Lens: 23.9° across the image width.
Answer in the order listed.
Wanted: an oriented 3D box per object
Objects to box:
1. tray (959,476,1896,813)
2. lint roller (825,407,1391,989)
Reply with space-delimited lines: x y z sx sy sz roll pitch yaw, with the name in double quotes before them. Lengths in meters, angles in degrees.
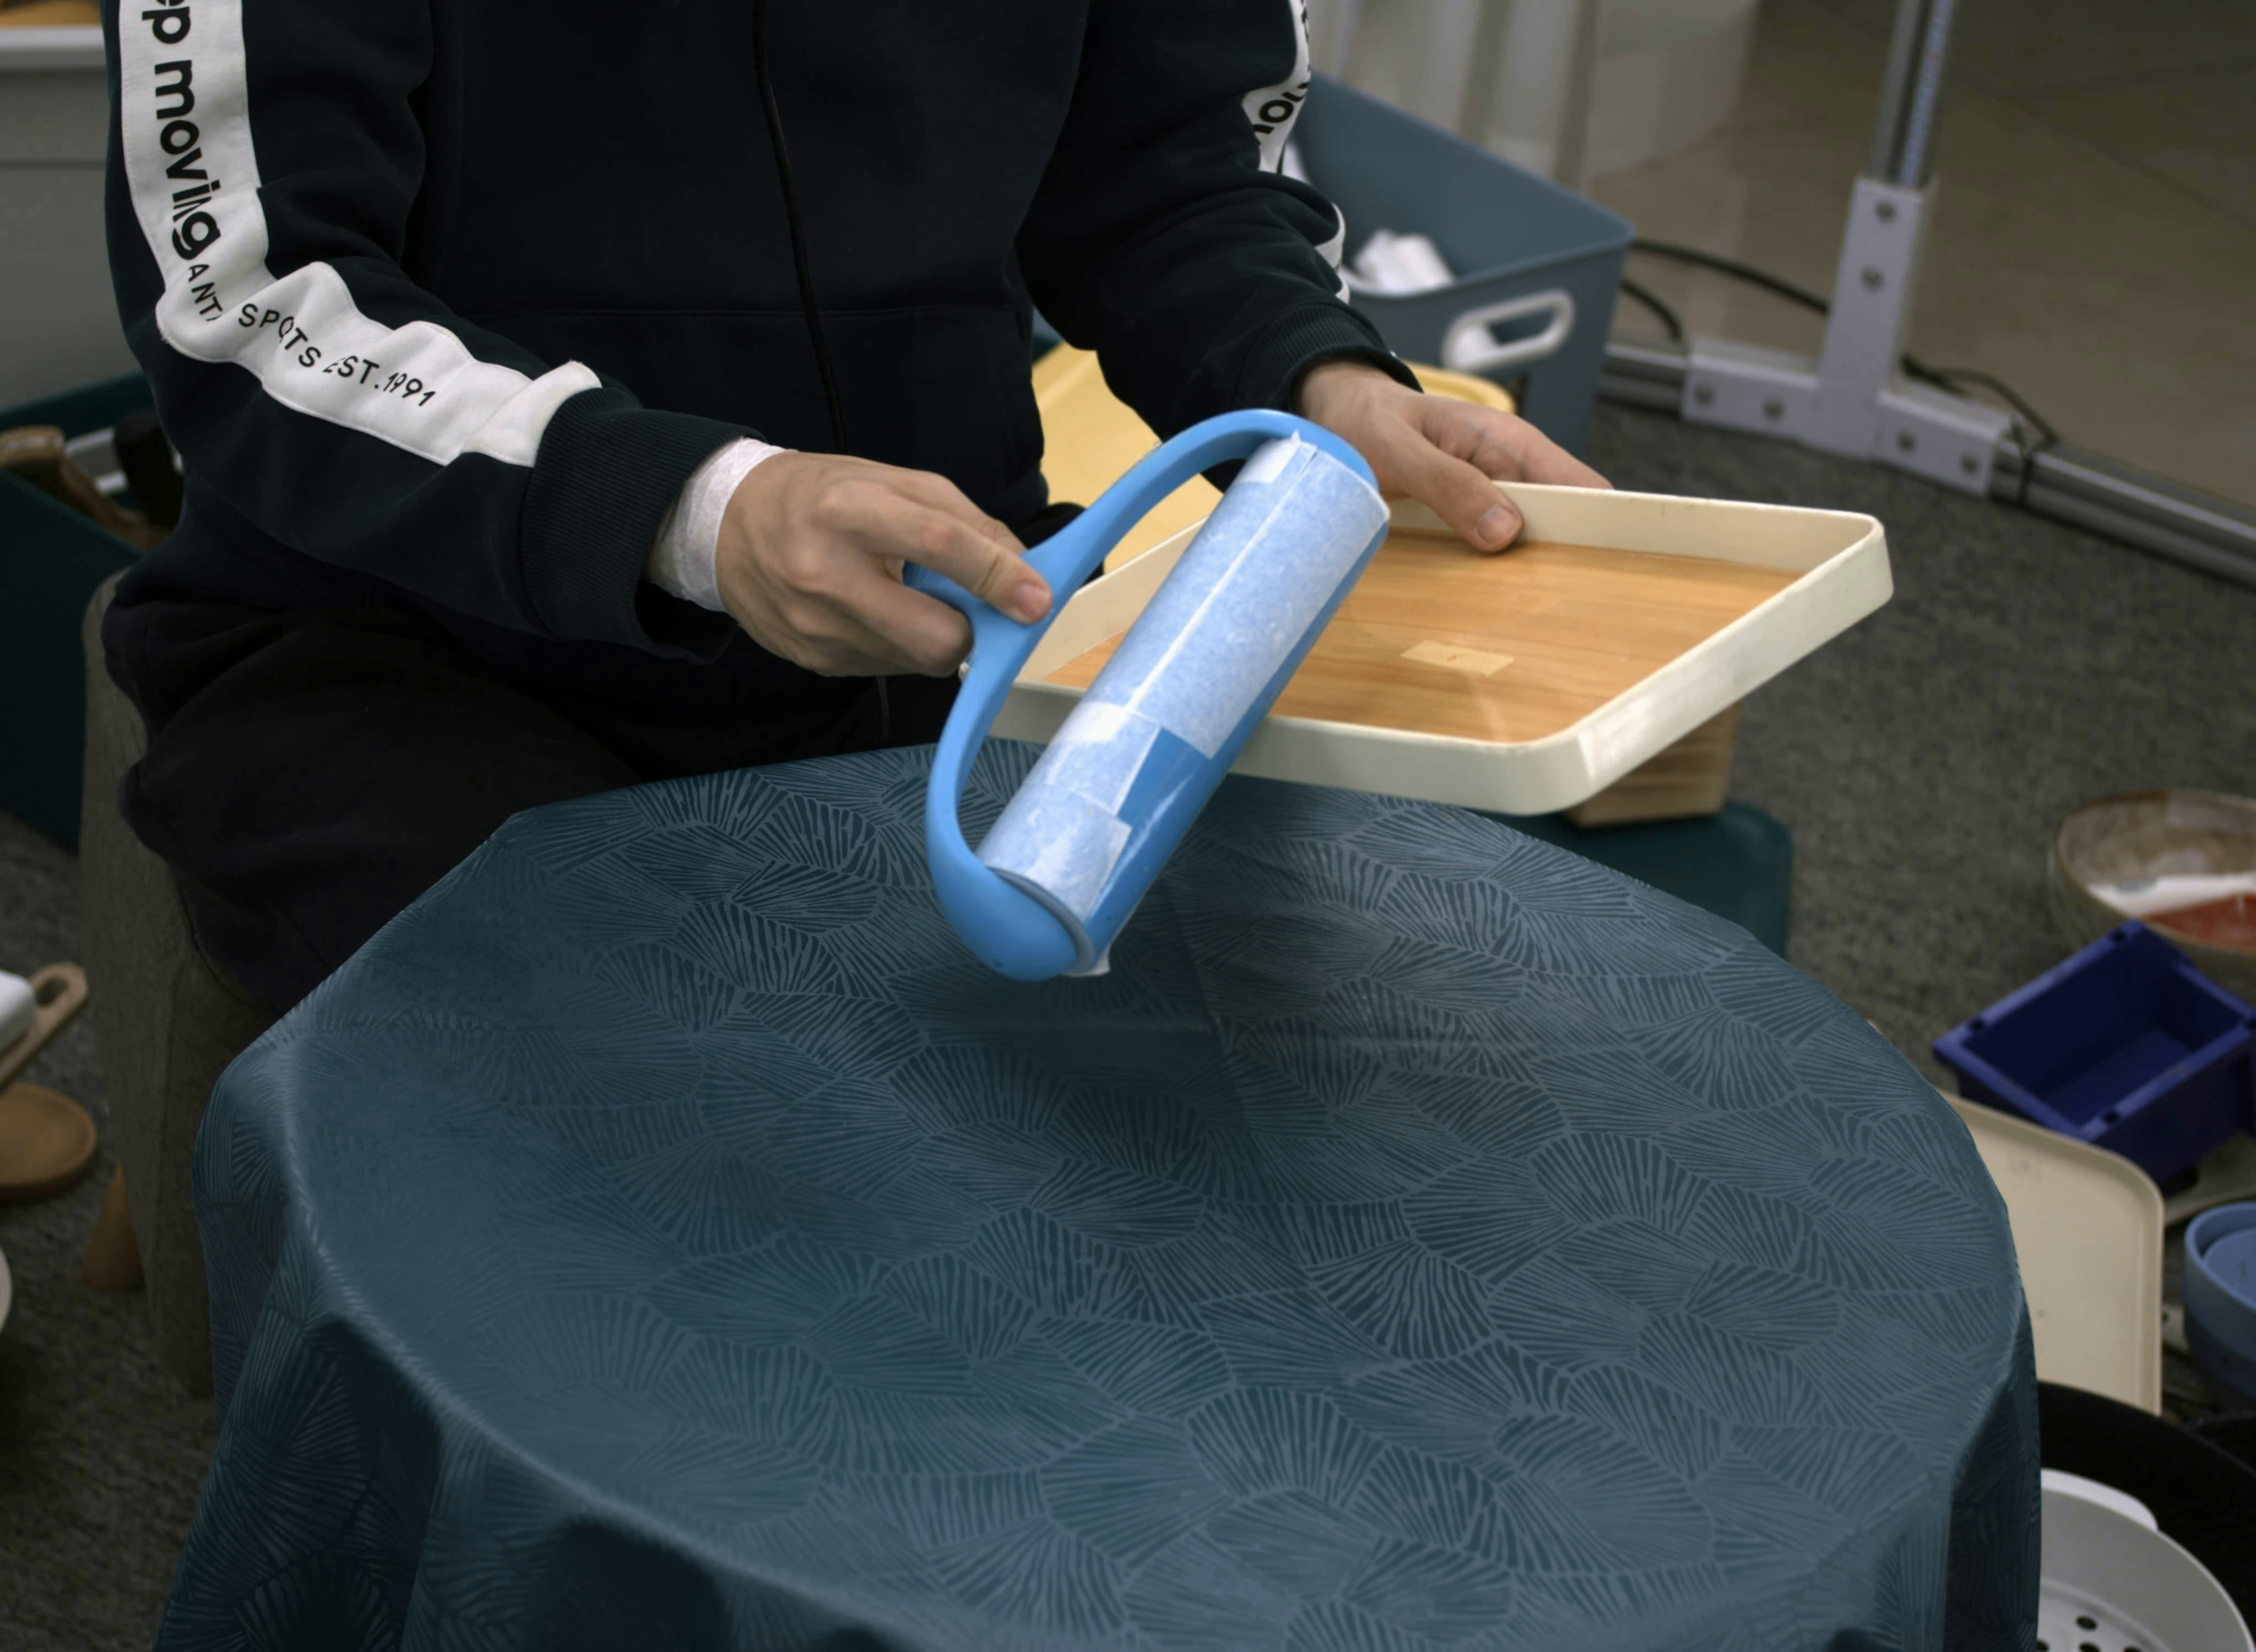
"tray" 0.100 -0.067 1.853 0.191 0.027 0.302 -31 25 -34
"lint roller" -0.032 -0.057 1.780 0.181 0.067 0.229 16 61 26
